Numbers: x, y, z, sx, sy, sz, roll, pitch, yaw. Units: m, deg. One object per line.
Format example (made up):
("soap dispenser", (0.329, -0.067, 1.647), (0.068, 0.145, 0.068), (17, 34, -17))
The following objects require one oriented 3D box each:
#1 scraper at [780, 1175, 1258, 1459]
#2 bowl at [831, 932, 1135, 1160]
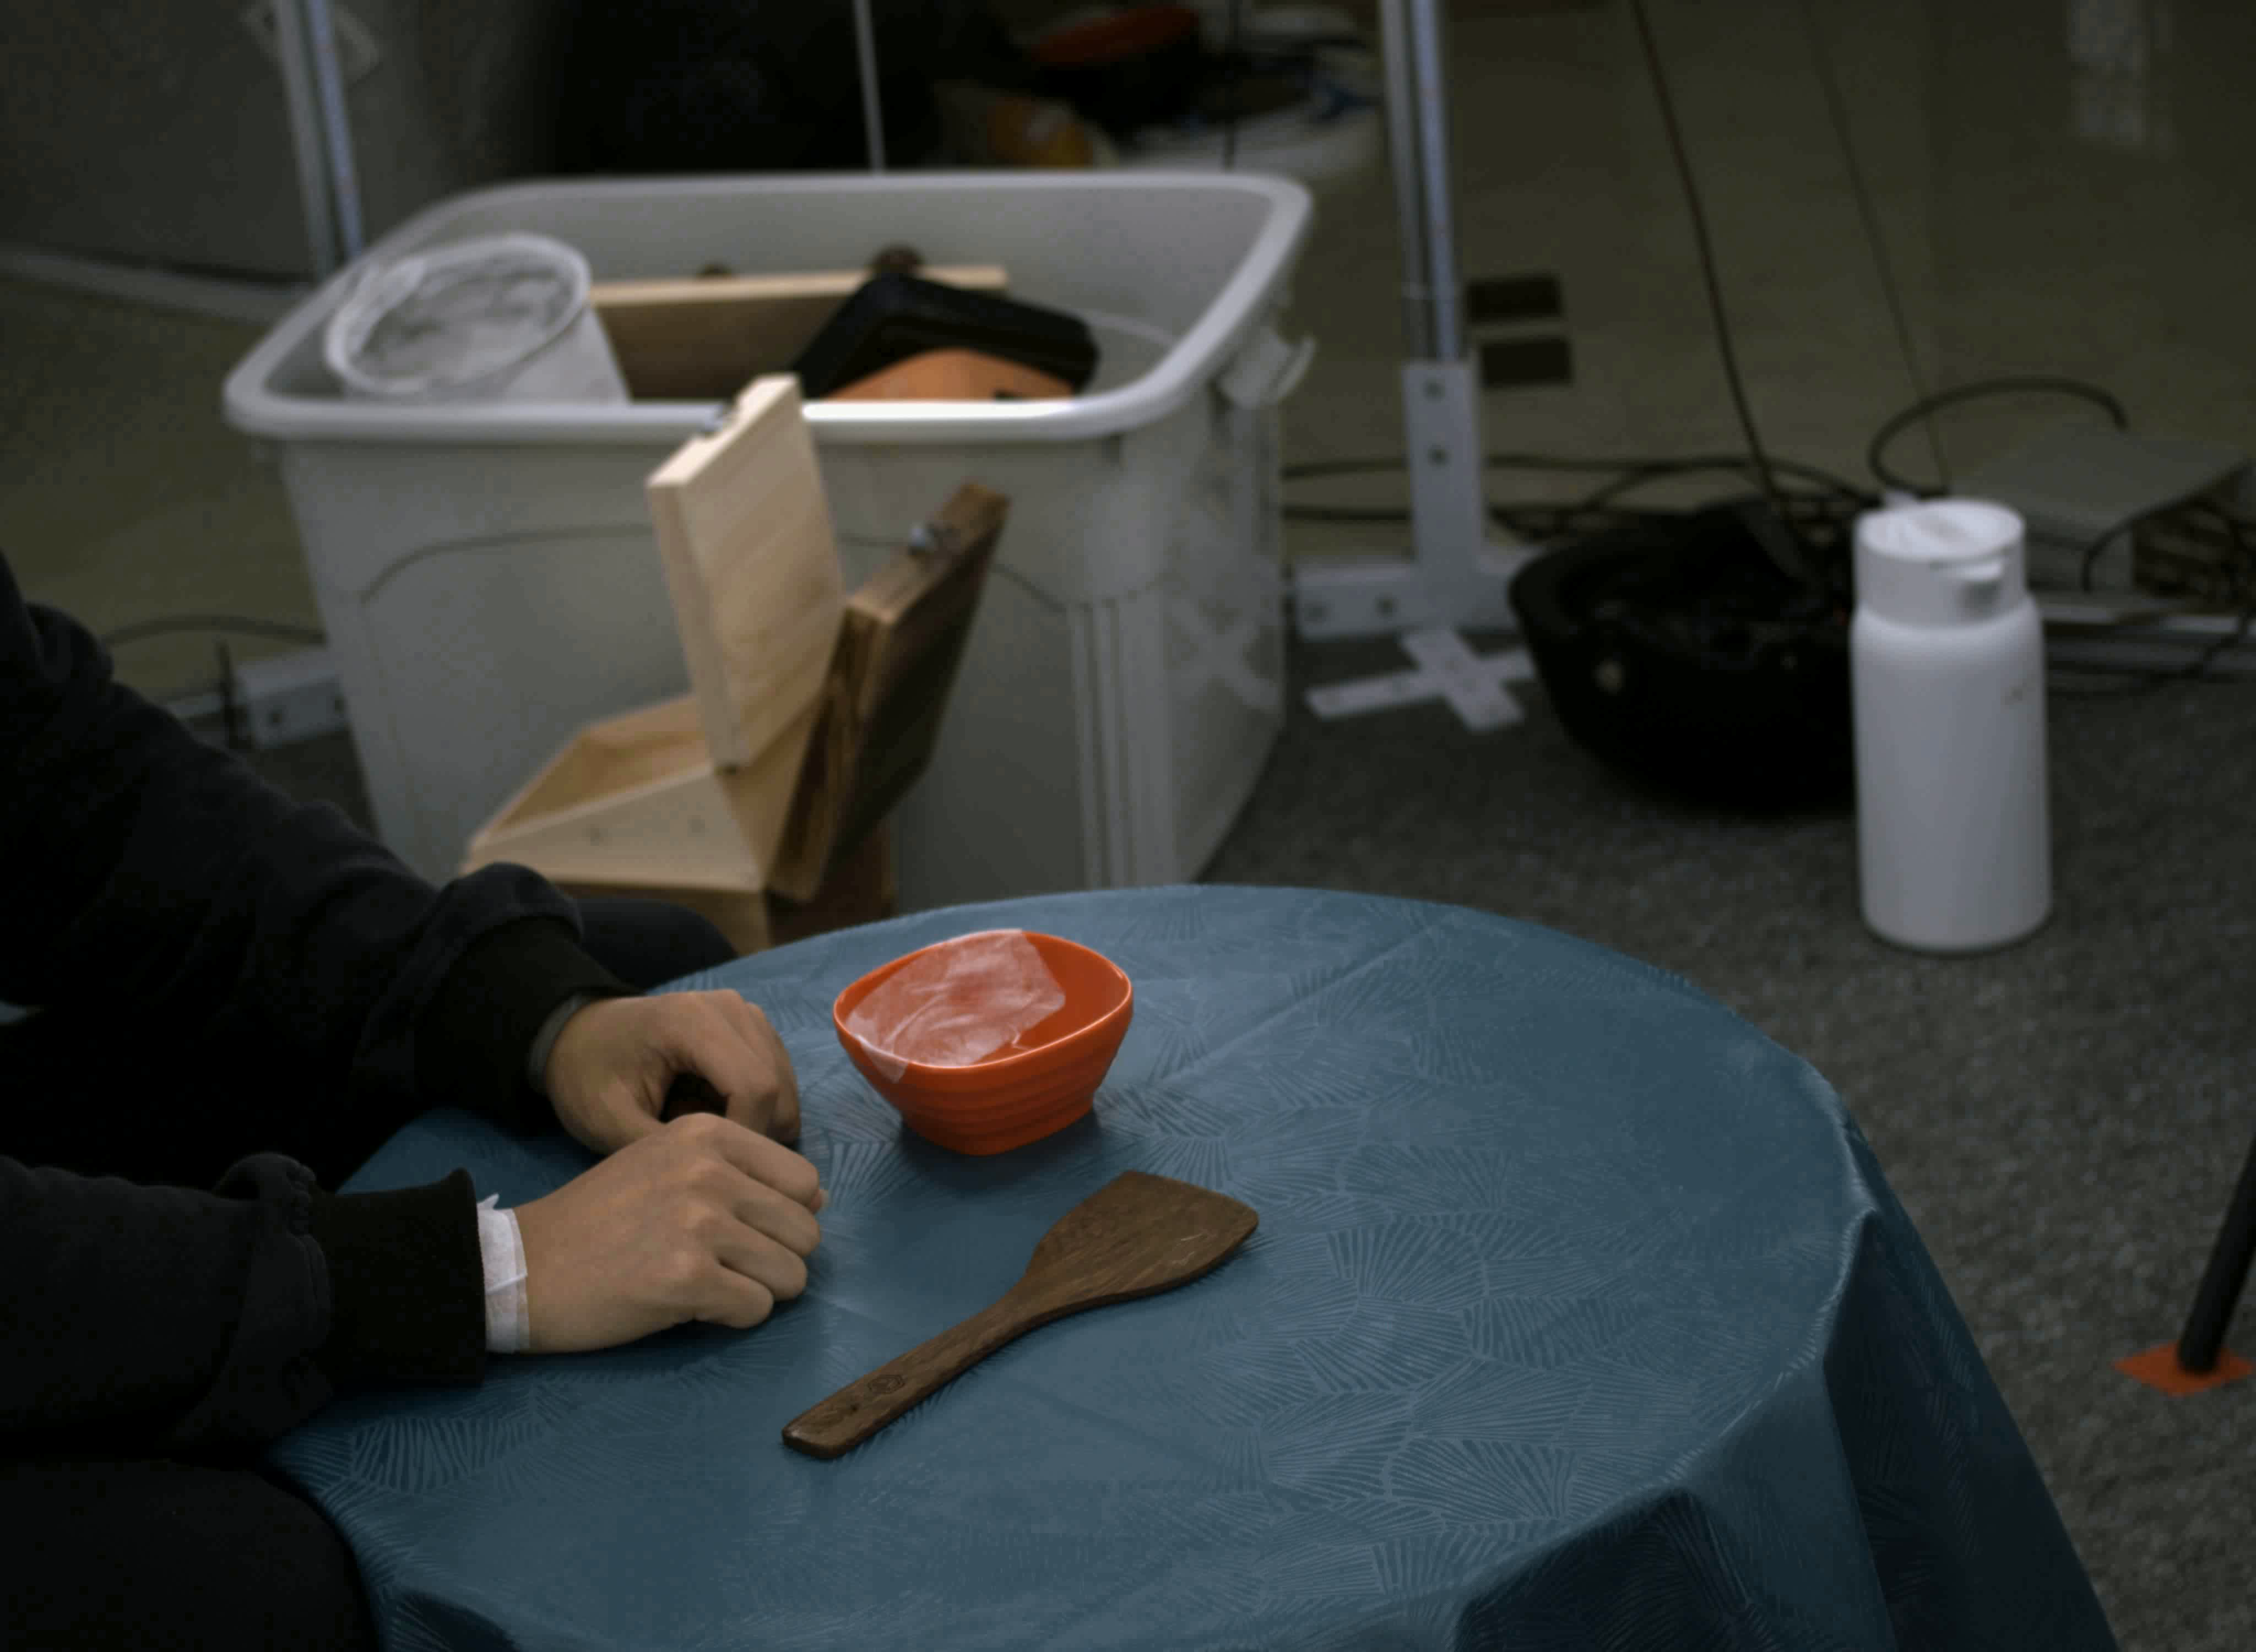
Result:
("scraper", (-0.044, 0.180, 2.066), (0.075, 0.011, 0.209), (17, 34, 42))
("bowl", (-0.055, 0.090, 2.212), (0.119, 0.052, 0.117), (-4, 26, 2))
